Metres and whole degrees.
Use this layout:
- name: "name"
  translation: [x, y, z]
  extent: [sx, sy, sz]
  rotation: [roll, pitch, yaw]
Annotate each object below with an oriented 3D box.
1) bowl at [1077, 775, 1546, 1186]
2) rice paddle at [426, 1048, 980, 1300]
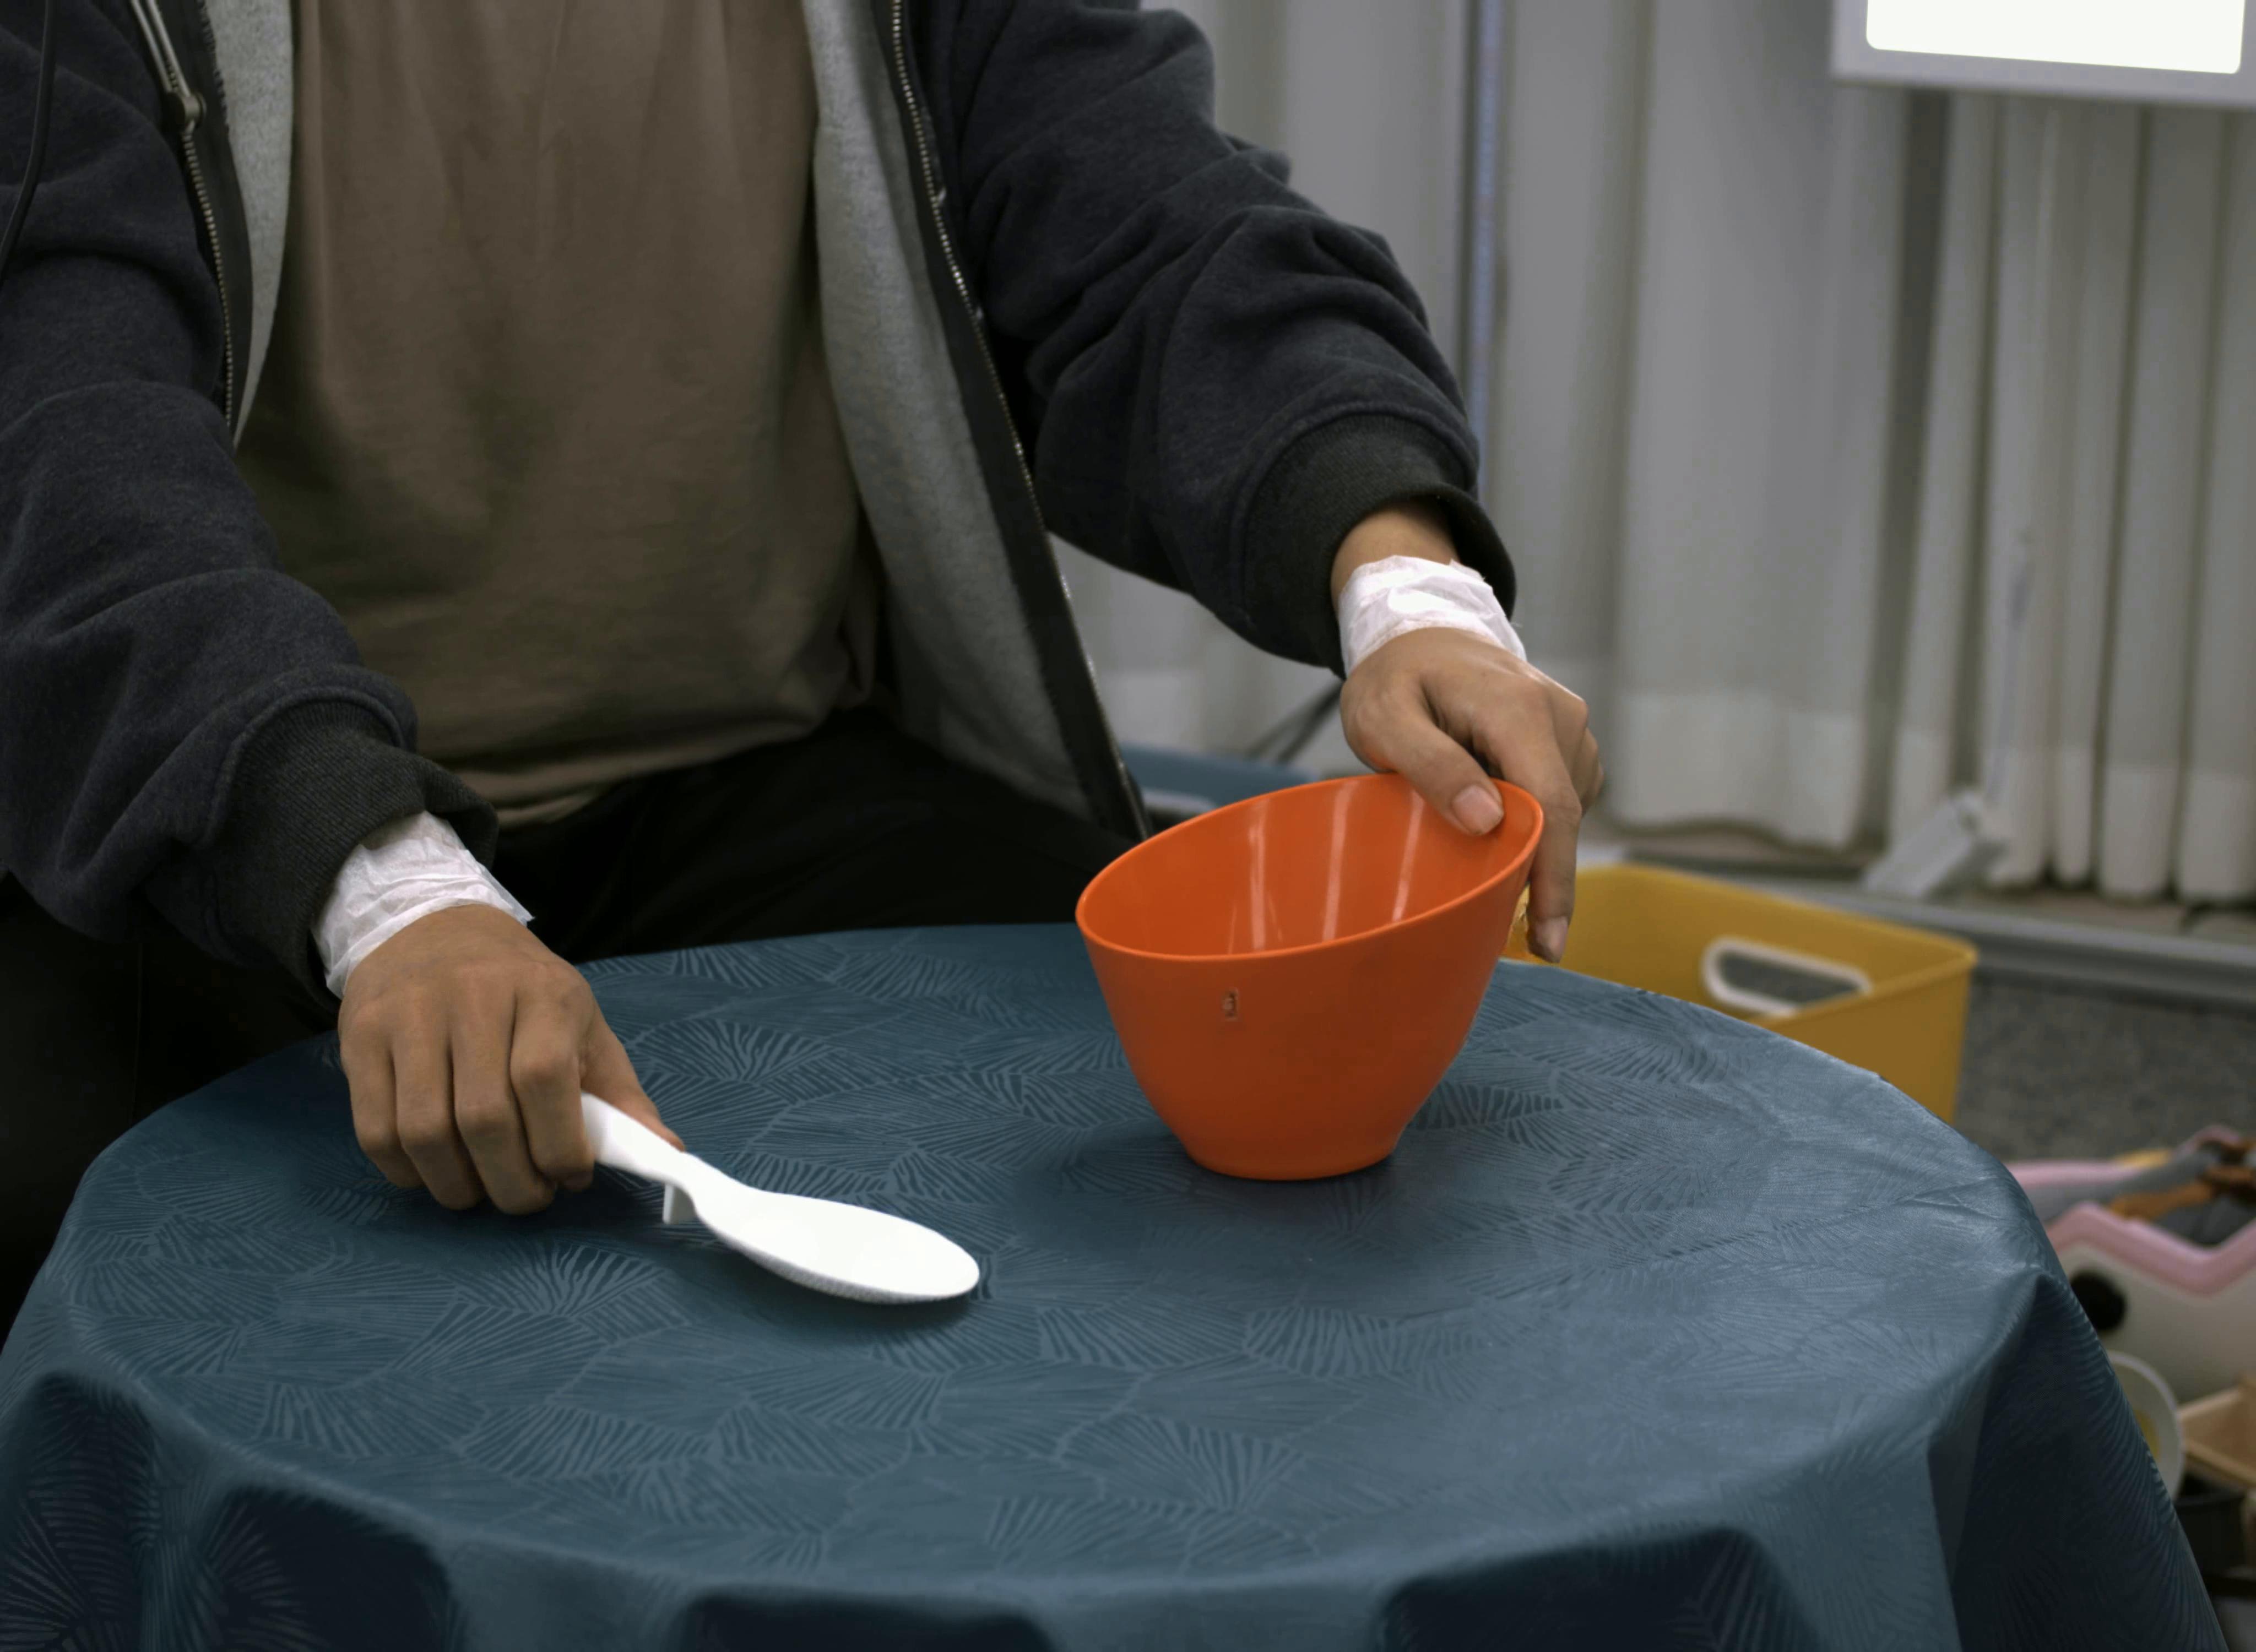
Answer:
- name: "bowl"
  translation: [0.060, 0.051, 1.648]
  extent: [0.147, 0.105, 0.147]
  rotation: [-3, 17, 2]
- name: "rice paddle"
  translation: [-0.127, 0.106, 1.569]
  extent: [0.202, 0.029, 0.069]
  rotation: [17, 17, 36]
